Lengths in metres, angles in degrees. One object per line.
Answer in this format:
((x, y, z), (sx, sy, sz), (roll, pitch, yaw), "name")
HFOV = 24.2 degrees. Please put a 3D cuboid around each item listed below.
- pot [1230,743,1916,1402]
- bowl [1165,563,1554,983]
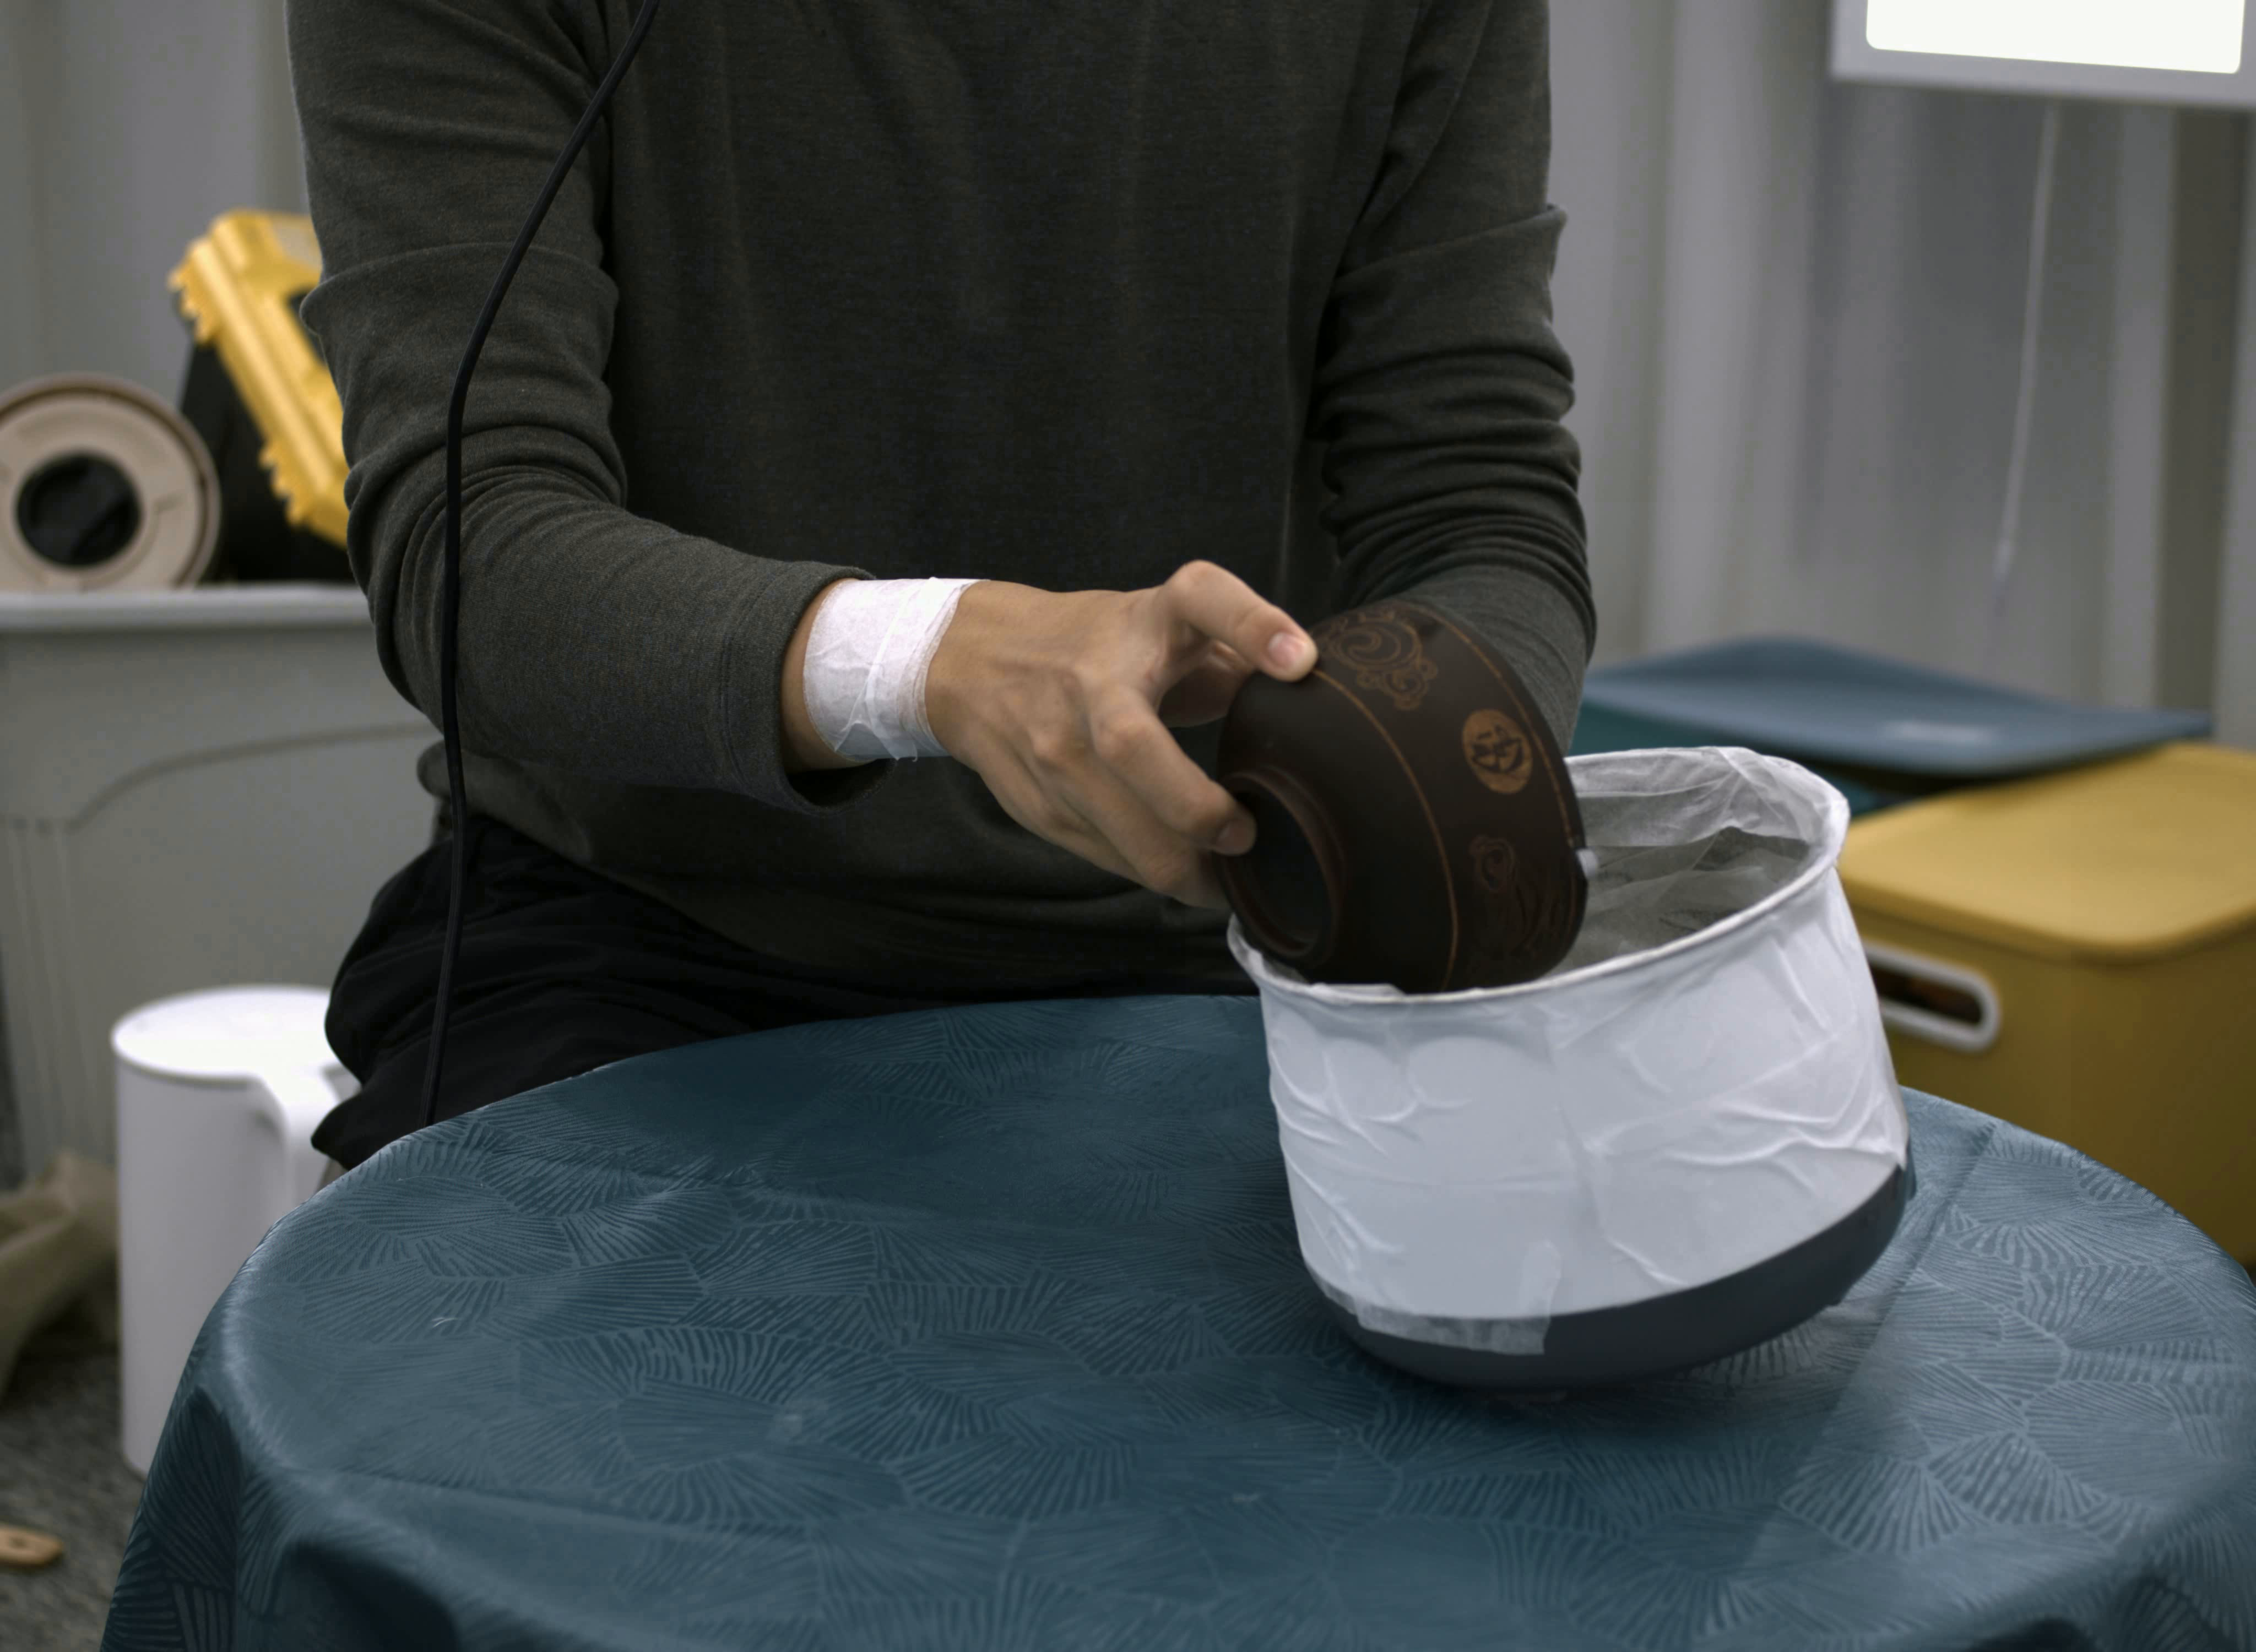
((0.119, 0.062, 1.511), (0.179, 0.138, 0.231), (-18, 20, -14), "pot")
((0.055, -0.008, 1.459), (0.070, 0.119, 0.116), (-26, 29, -35), "bowl")
